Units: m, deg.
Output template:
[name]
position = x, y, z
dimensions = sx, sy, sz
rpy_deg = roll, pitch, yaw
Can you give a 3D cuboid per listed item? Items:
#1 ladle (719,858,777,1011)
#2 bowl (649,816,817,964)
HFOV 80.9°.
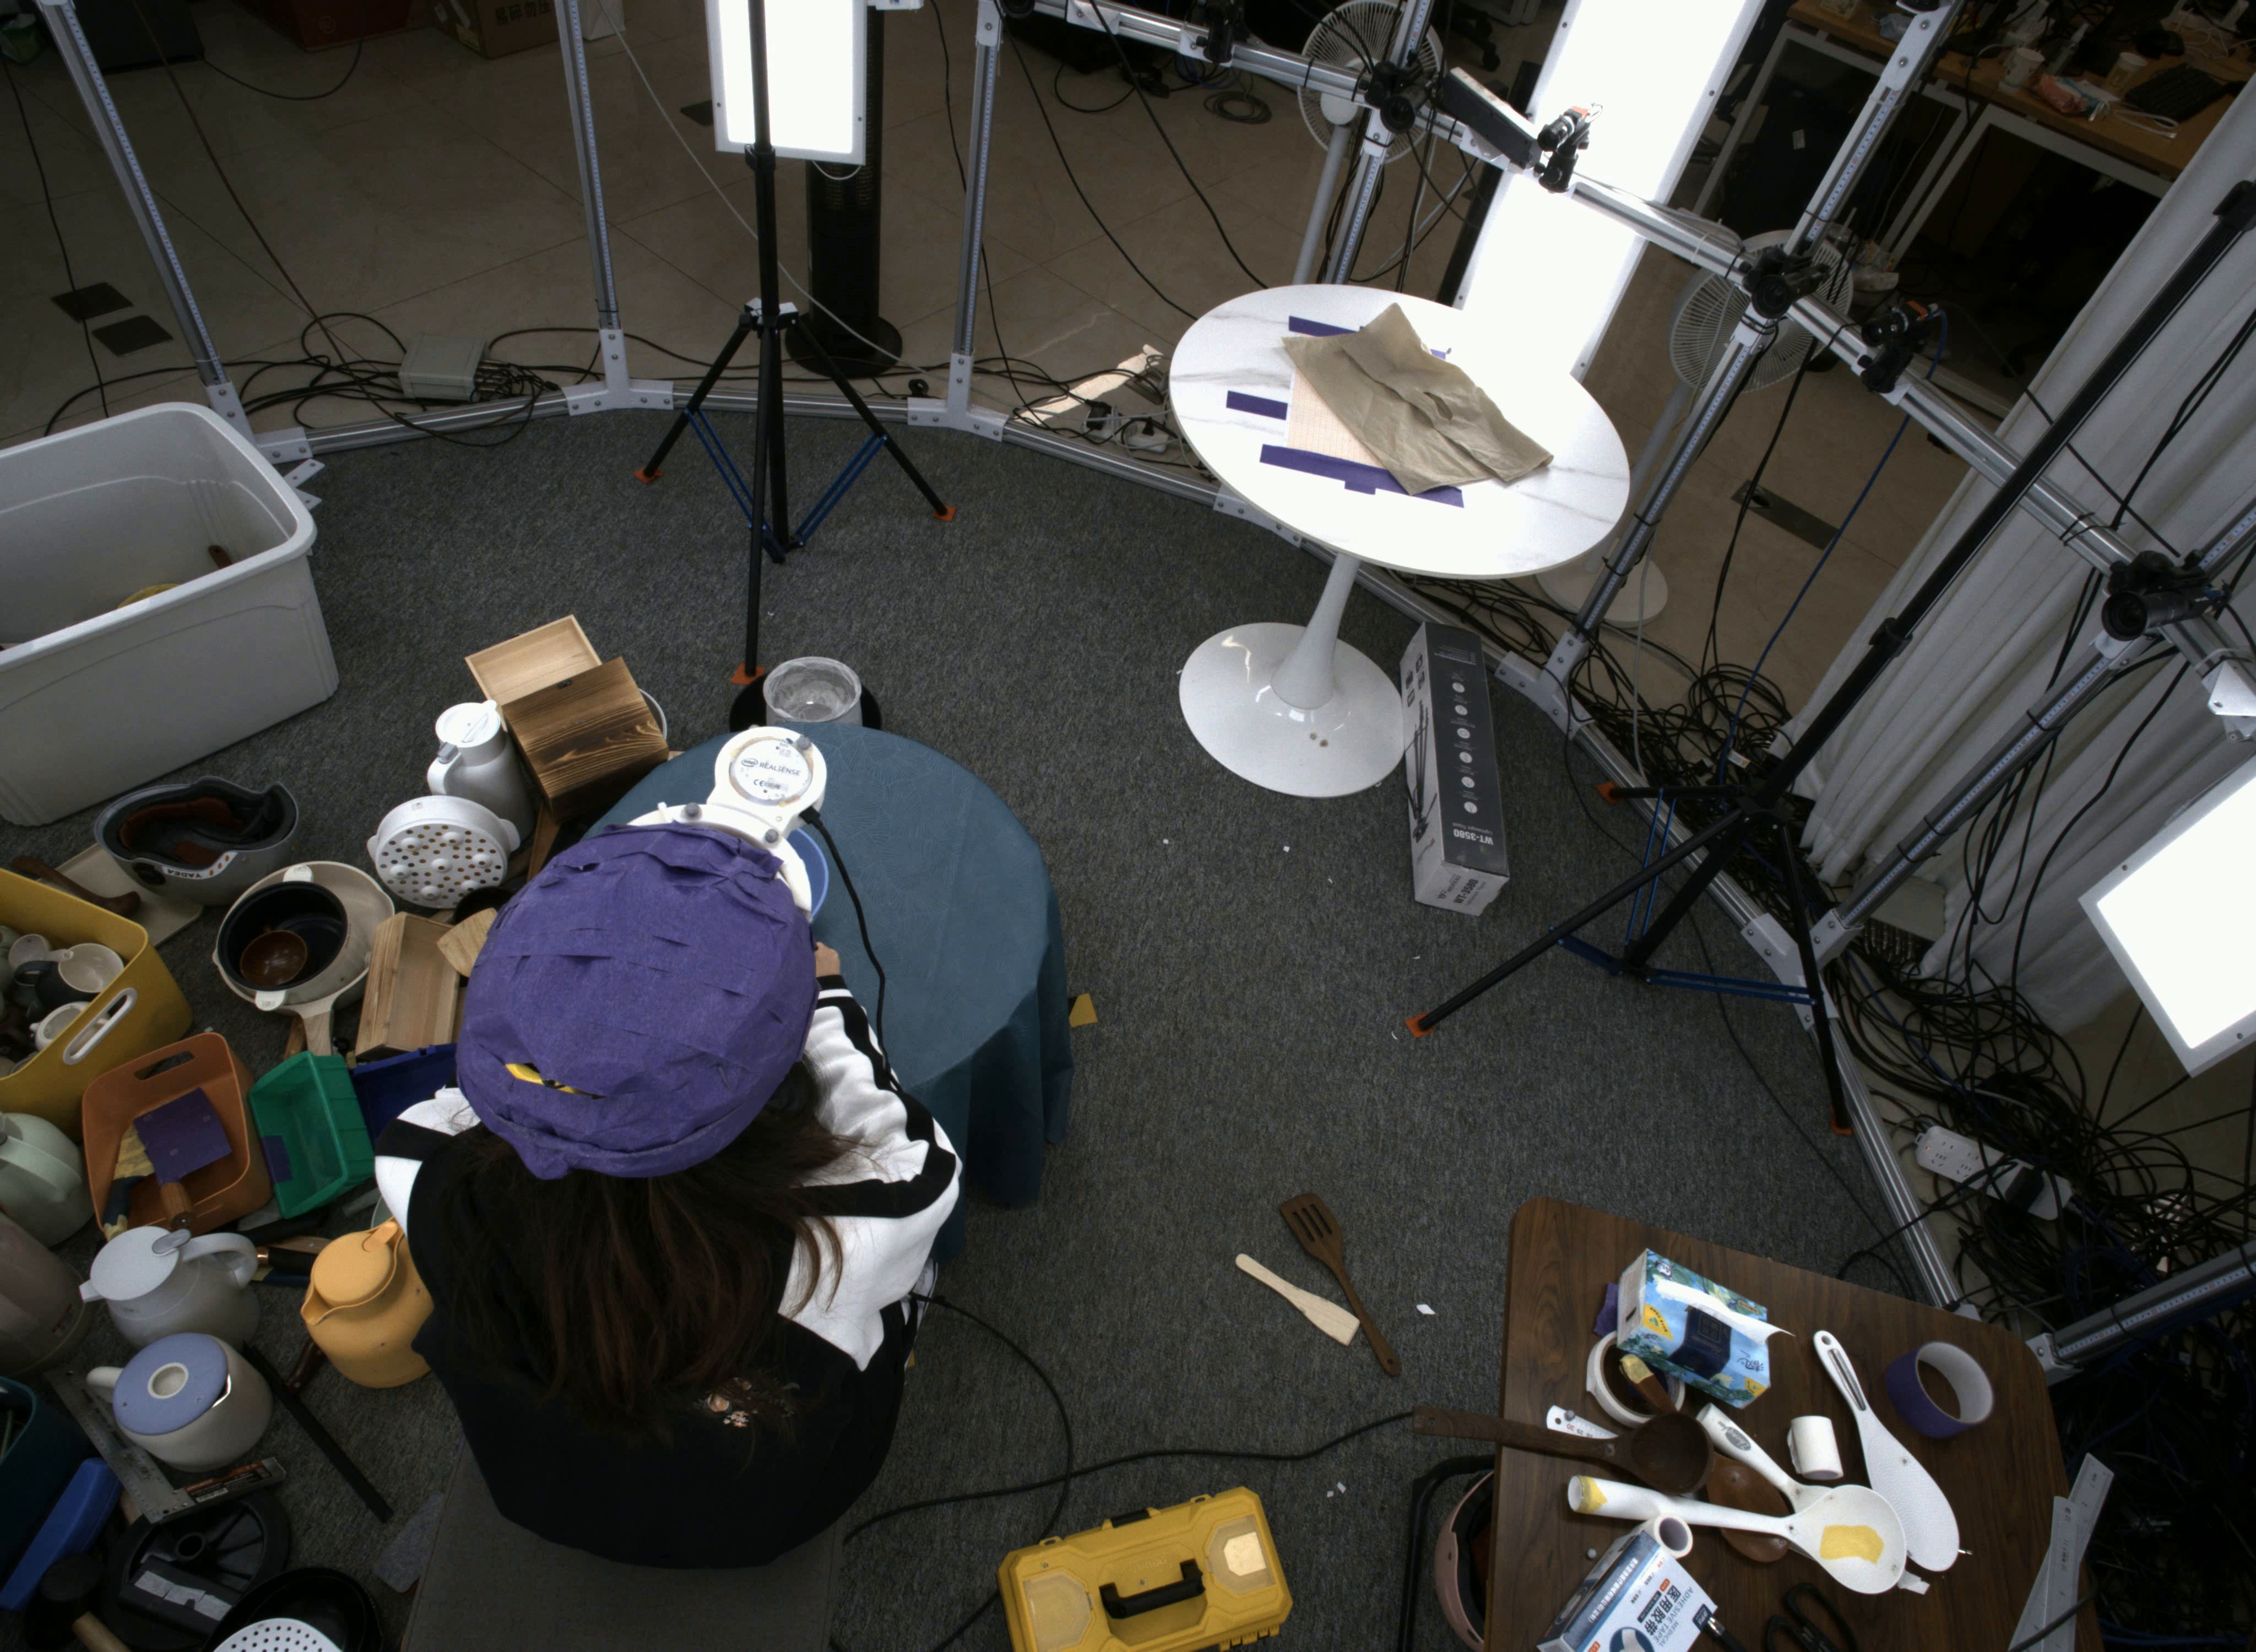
[ladle]
position = -0.418, 0.131, 1.508
dimensions = 0.075, 0.072, 0.246
rpy_deg = 31, 18, -47
[bowl]
position = -0.477, 0.092, 1.573
dimensions = 0.196, 0.097, 0.193
rpy_deg = 8, 49, -7
